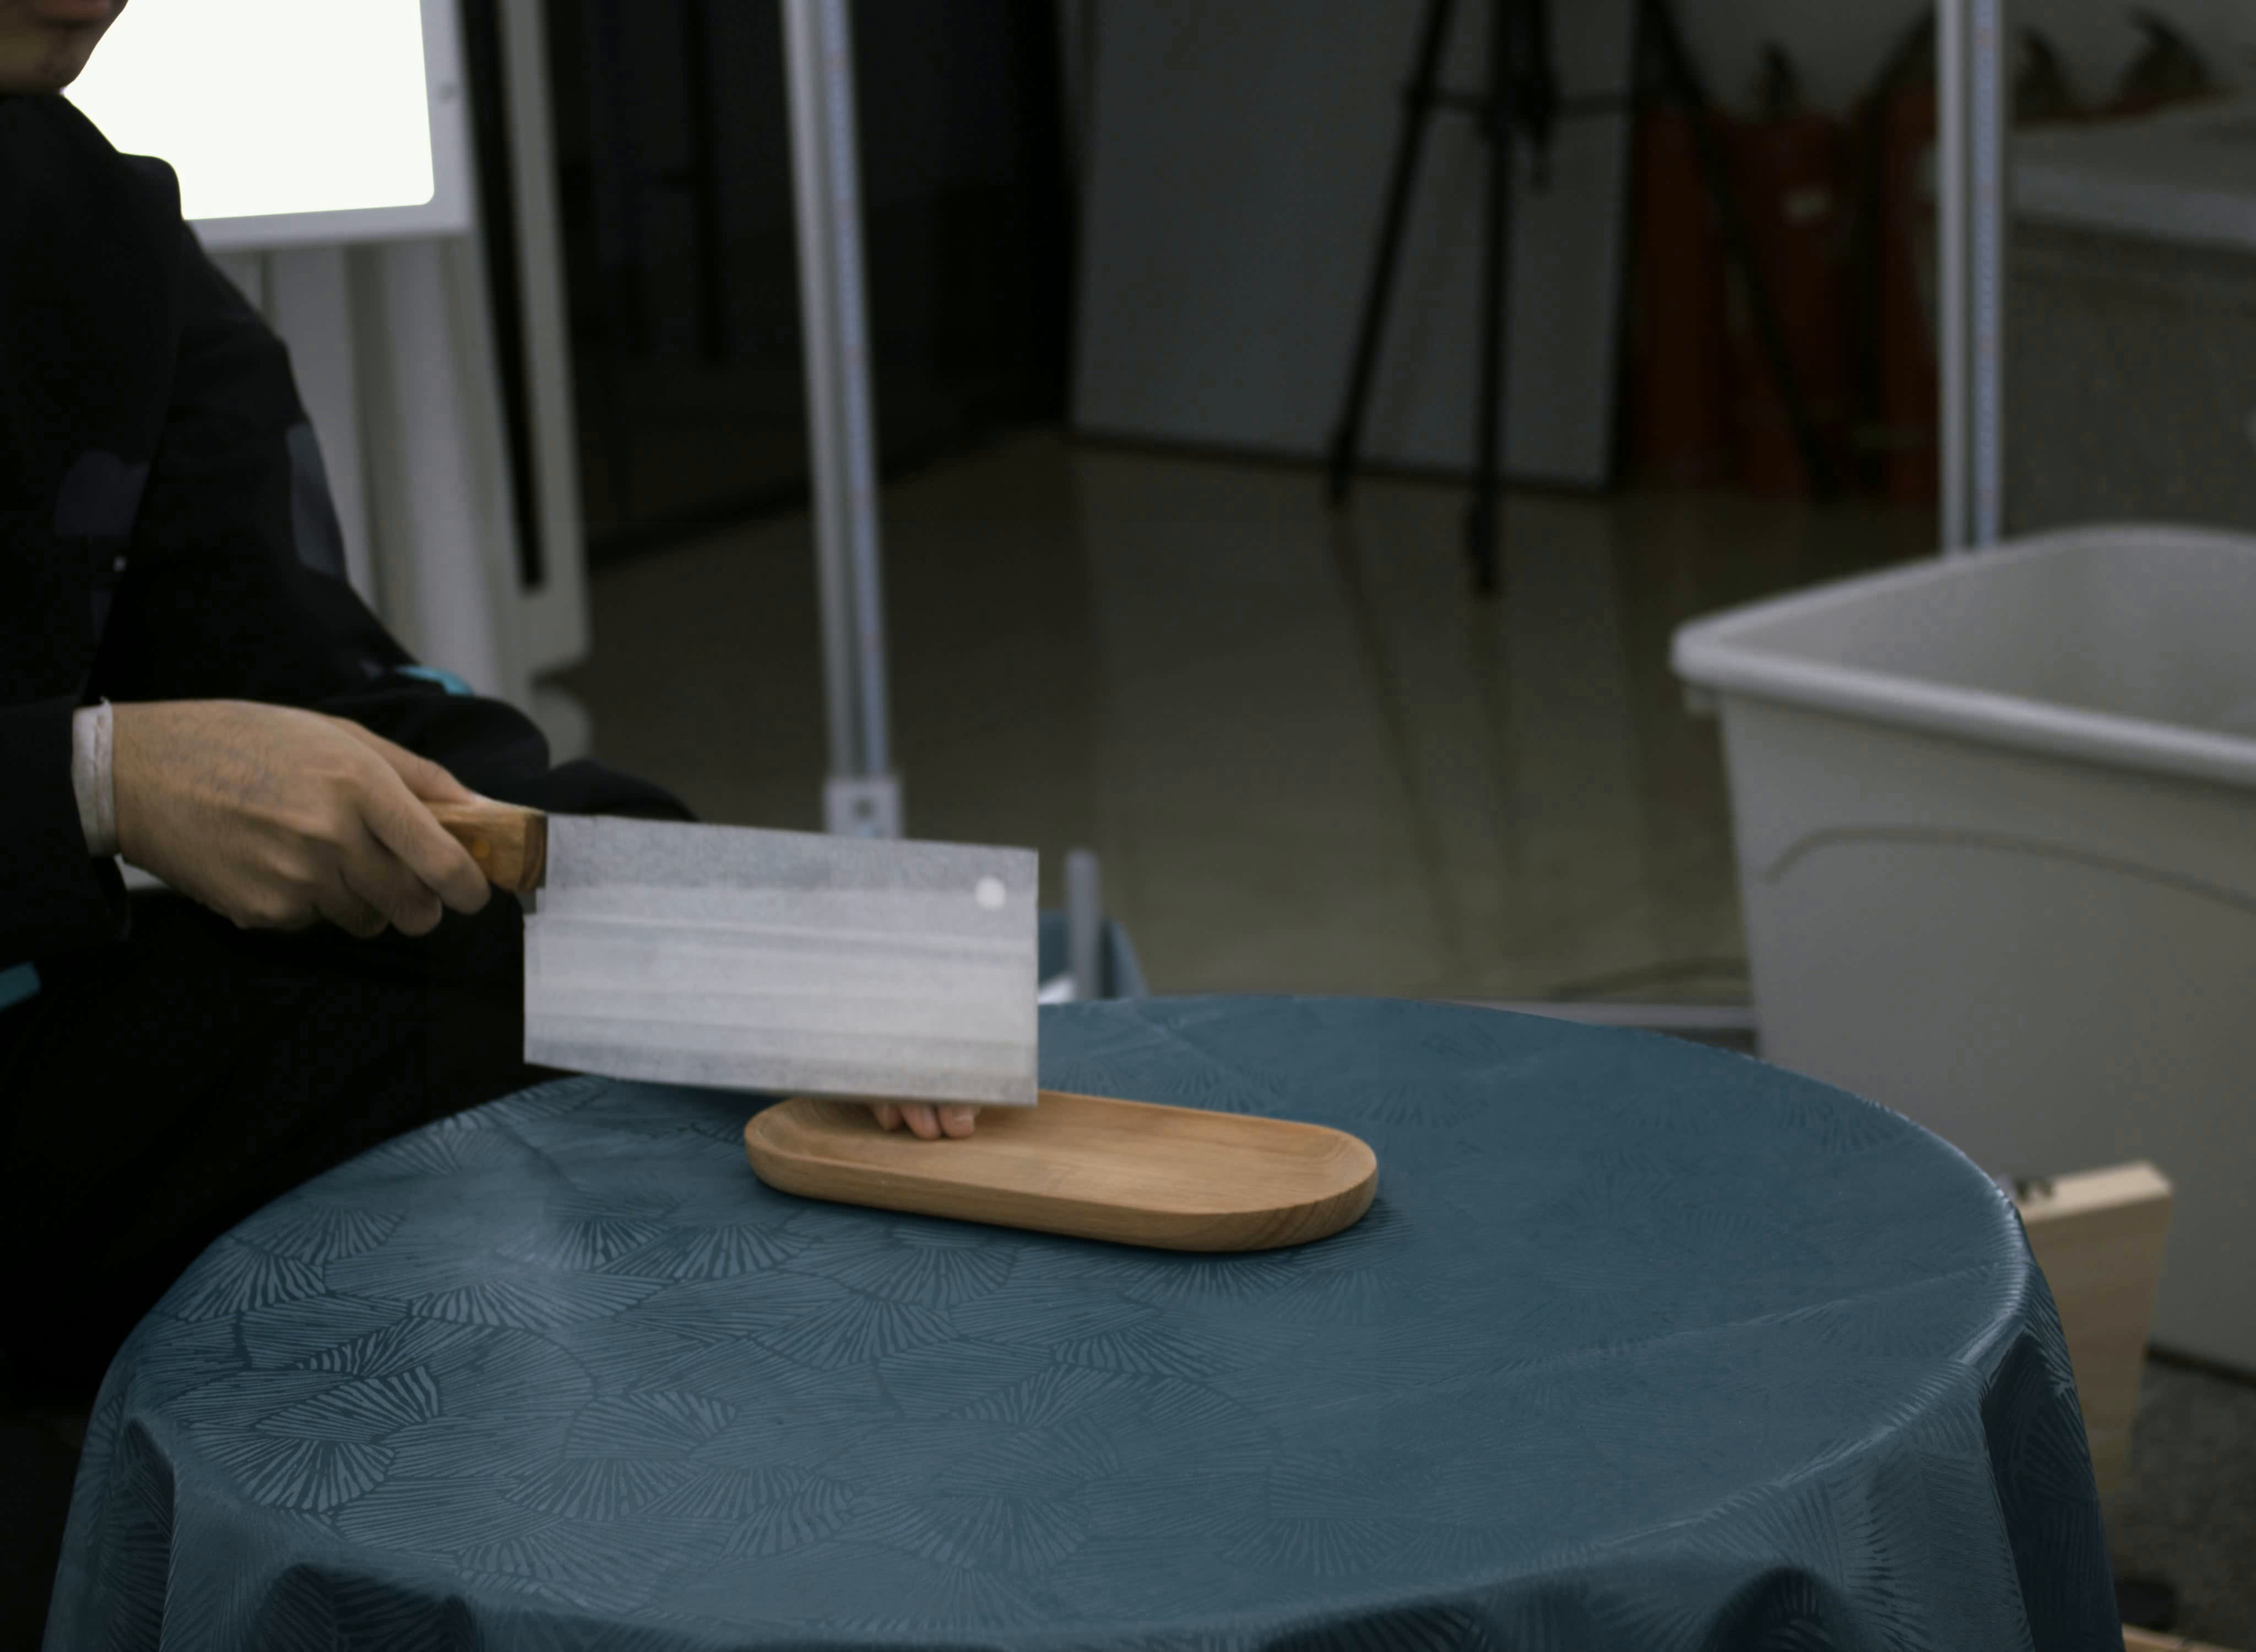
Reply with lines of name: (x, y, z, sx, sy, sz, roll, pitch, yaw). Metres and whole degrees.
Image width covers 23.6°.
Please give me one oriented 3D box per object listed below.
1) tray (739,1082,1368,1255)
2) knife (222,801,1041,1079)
tray: (-0.026, 0.112, 1.778, 0.232, 0.020, 0.100, 4, 14, 34)
knife: (-0.171, 0.040, 1.839, 0.305, 0.094, 0.021, 3, 11, 21)
